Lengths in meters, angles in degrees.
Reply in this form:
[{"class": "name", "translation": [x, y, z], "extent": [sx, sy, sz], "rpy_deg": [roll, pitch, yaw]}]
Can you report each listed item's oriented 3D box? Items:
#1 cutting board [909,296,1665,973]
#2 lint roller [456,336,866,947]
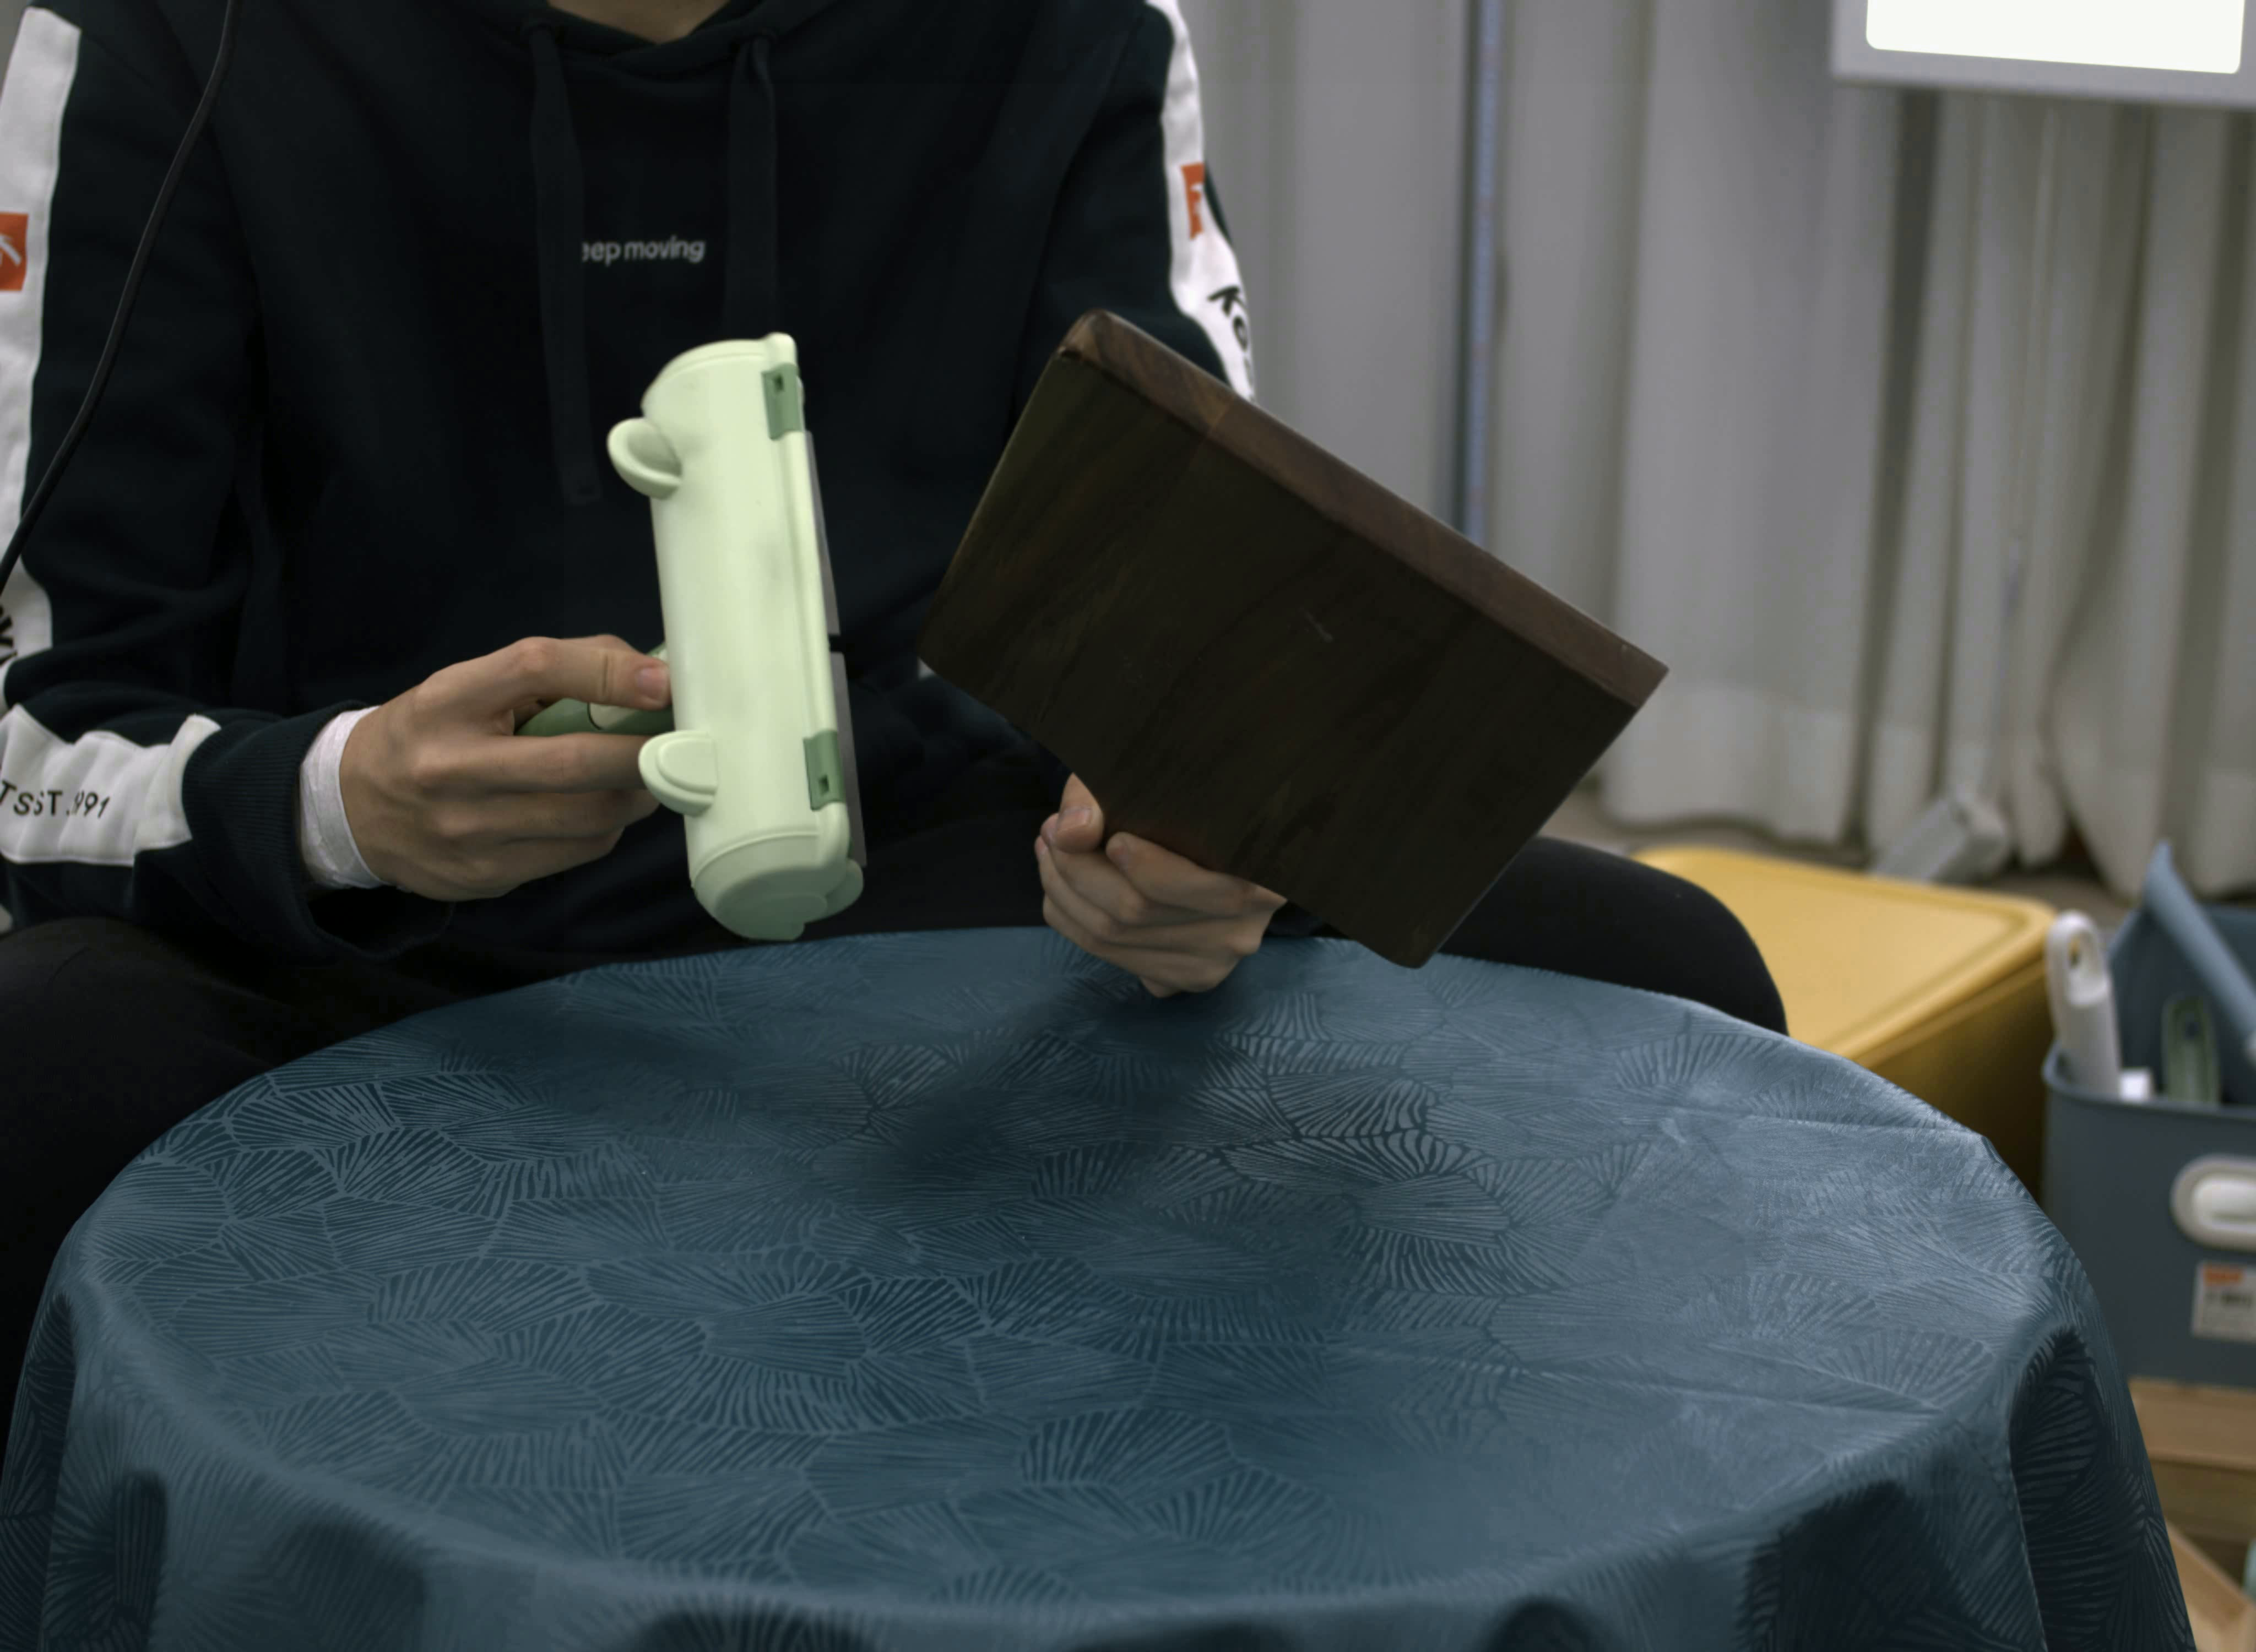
[{"class": "cutting board", "translation": [0.031, -0.035, 1.640], "extent": [0.201, 0.023, 0.353], "rpy_deg": [33, -24, 0]}, {"class": "lint roller", "translation": [-0.167, -0.042, 1.693], "extent": [0.182, 0.197, 0.083], "rpy_deg": [-24, -31, 28]}]
